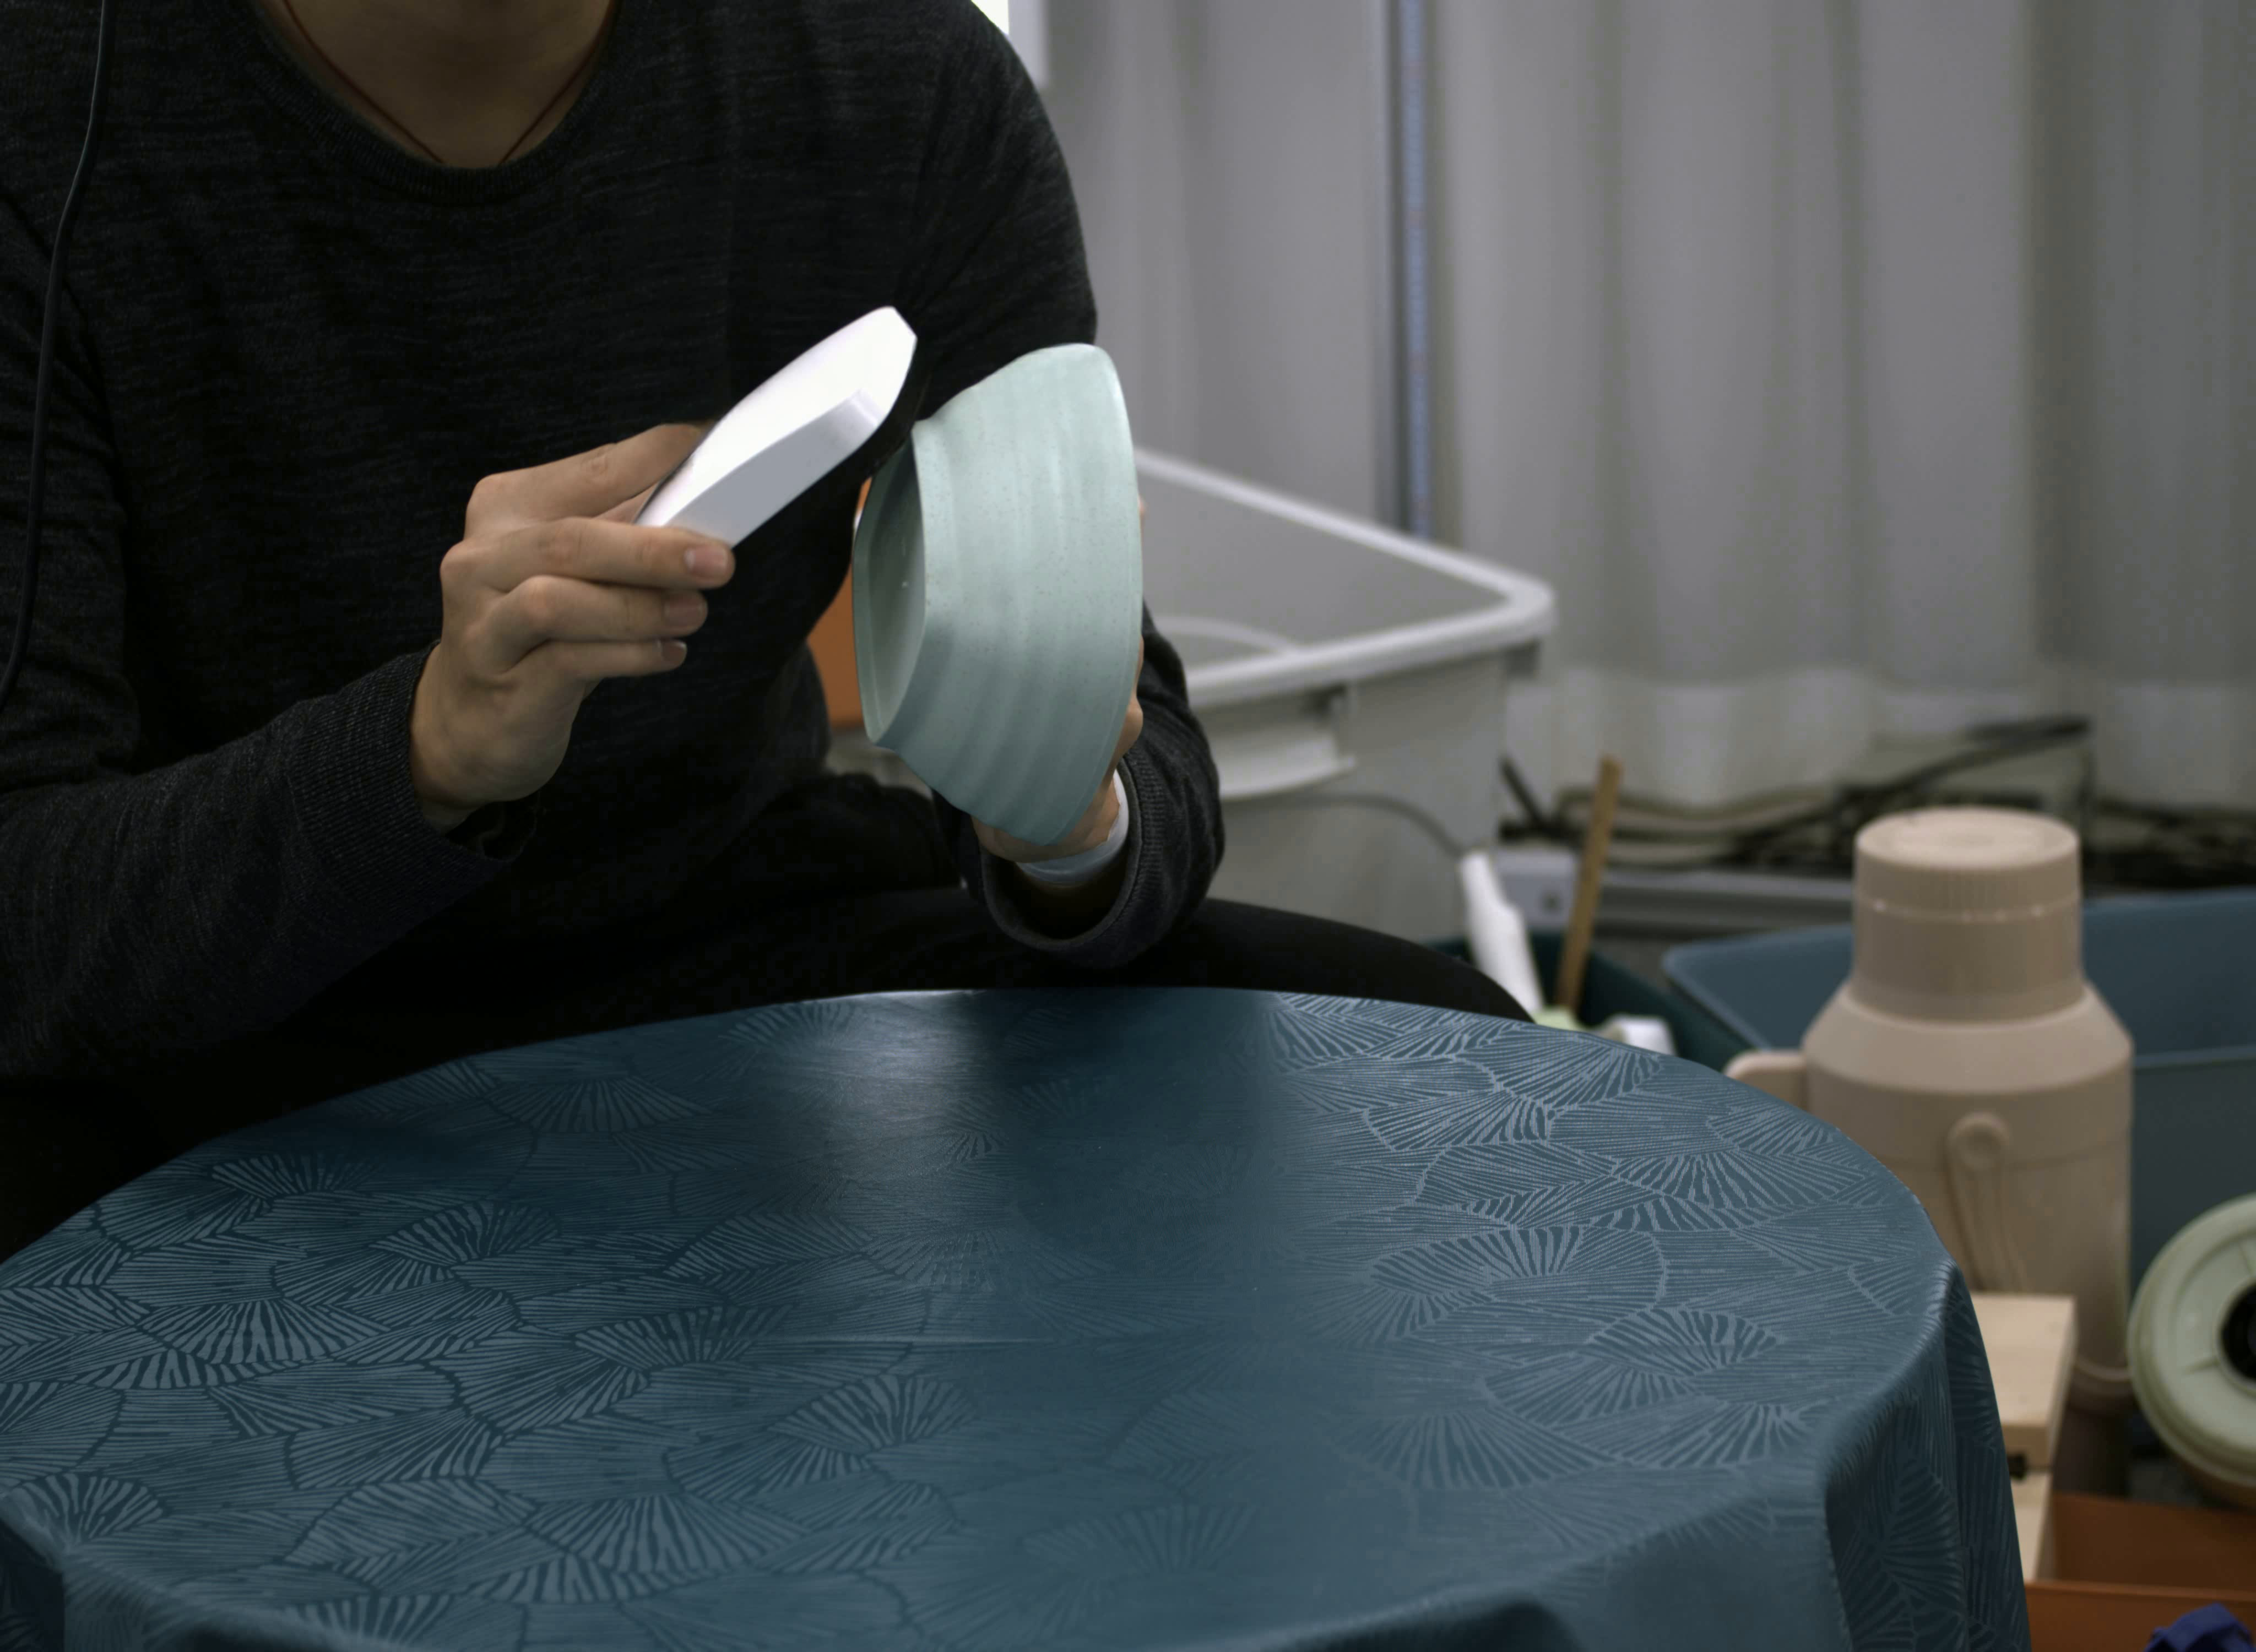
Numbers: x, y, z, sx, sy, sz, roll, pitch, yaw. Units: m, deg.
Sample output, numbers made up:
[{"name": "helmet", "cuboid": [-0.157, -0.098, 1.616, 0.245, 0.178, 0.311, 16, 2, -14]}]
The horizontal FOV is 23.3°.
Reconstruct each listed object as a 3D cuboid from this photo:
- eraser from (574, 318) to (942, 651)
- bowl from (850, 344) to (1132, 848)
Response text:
[{"name": "eraser", "cuboid": [-0.112, -0.104, 1.638, 0.130, 0.034, 0.064, -33, 19, 34]}, {"name": "bowl", "cuboid": [-0.045, -0.069, 1.622, 0.058, 0.151, 0.152, 3, 13, -15]}]
